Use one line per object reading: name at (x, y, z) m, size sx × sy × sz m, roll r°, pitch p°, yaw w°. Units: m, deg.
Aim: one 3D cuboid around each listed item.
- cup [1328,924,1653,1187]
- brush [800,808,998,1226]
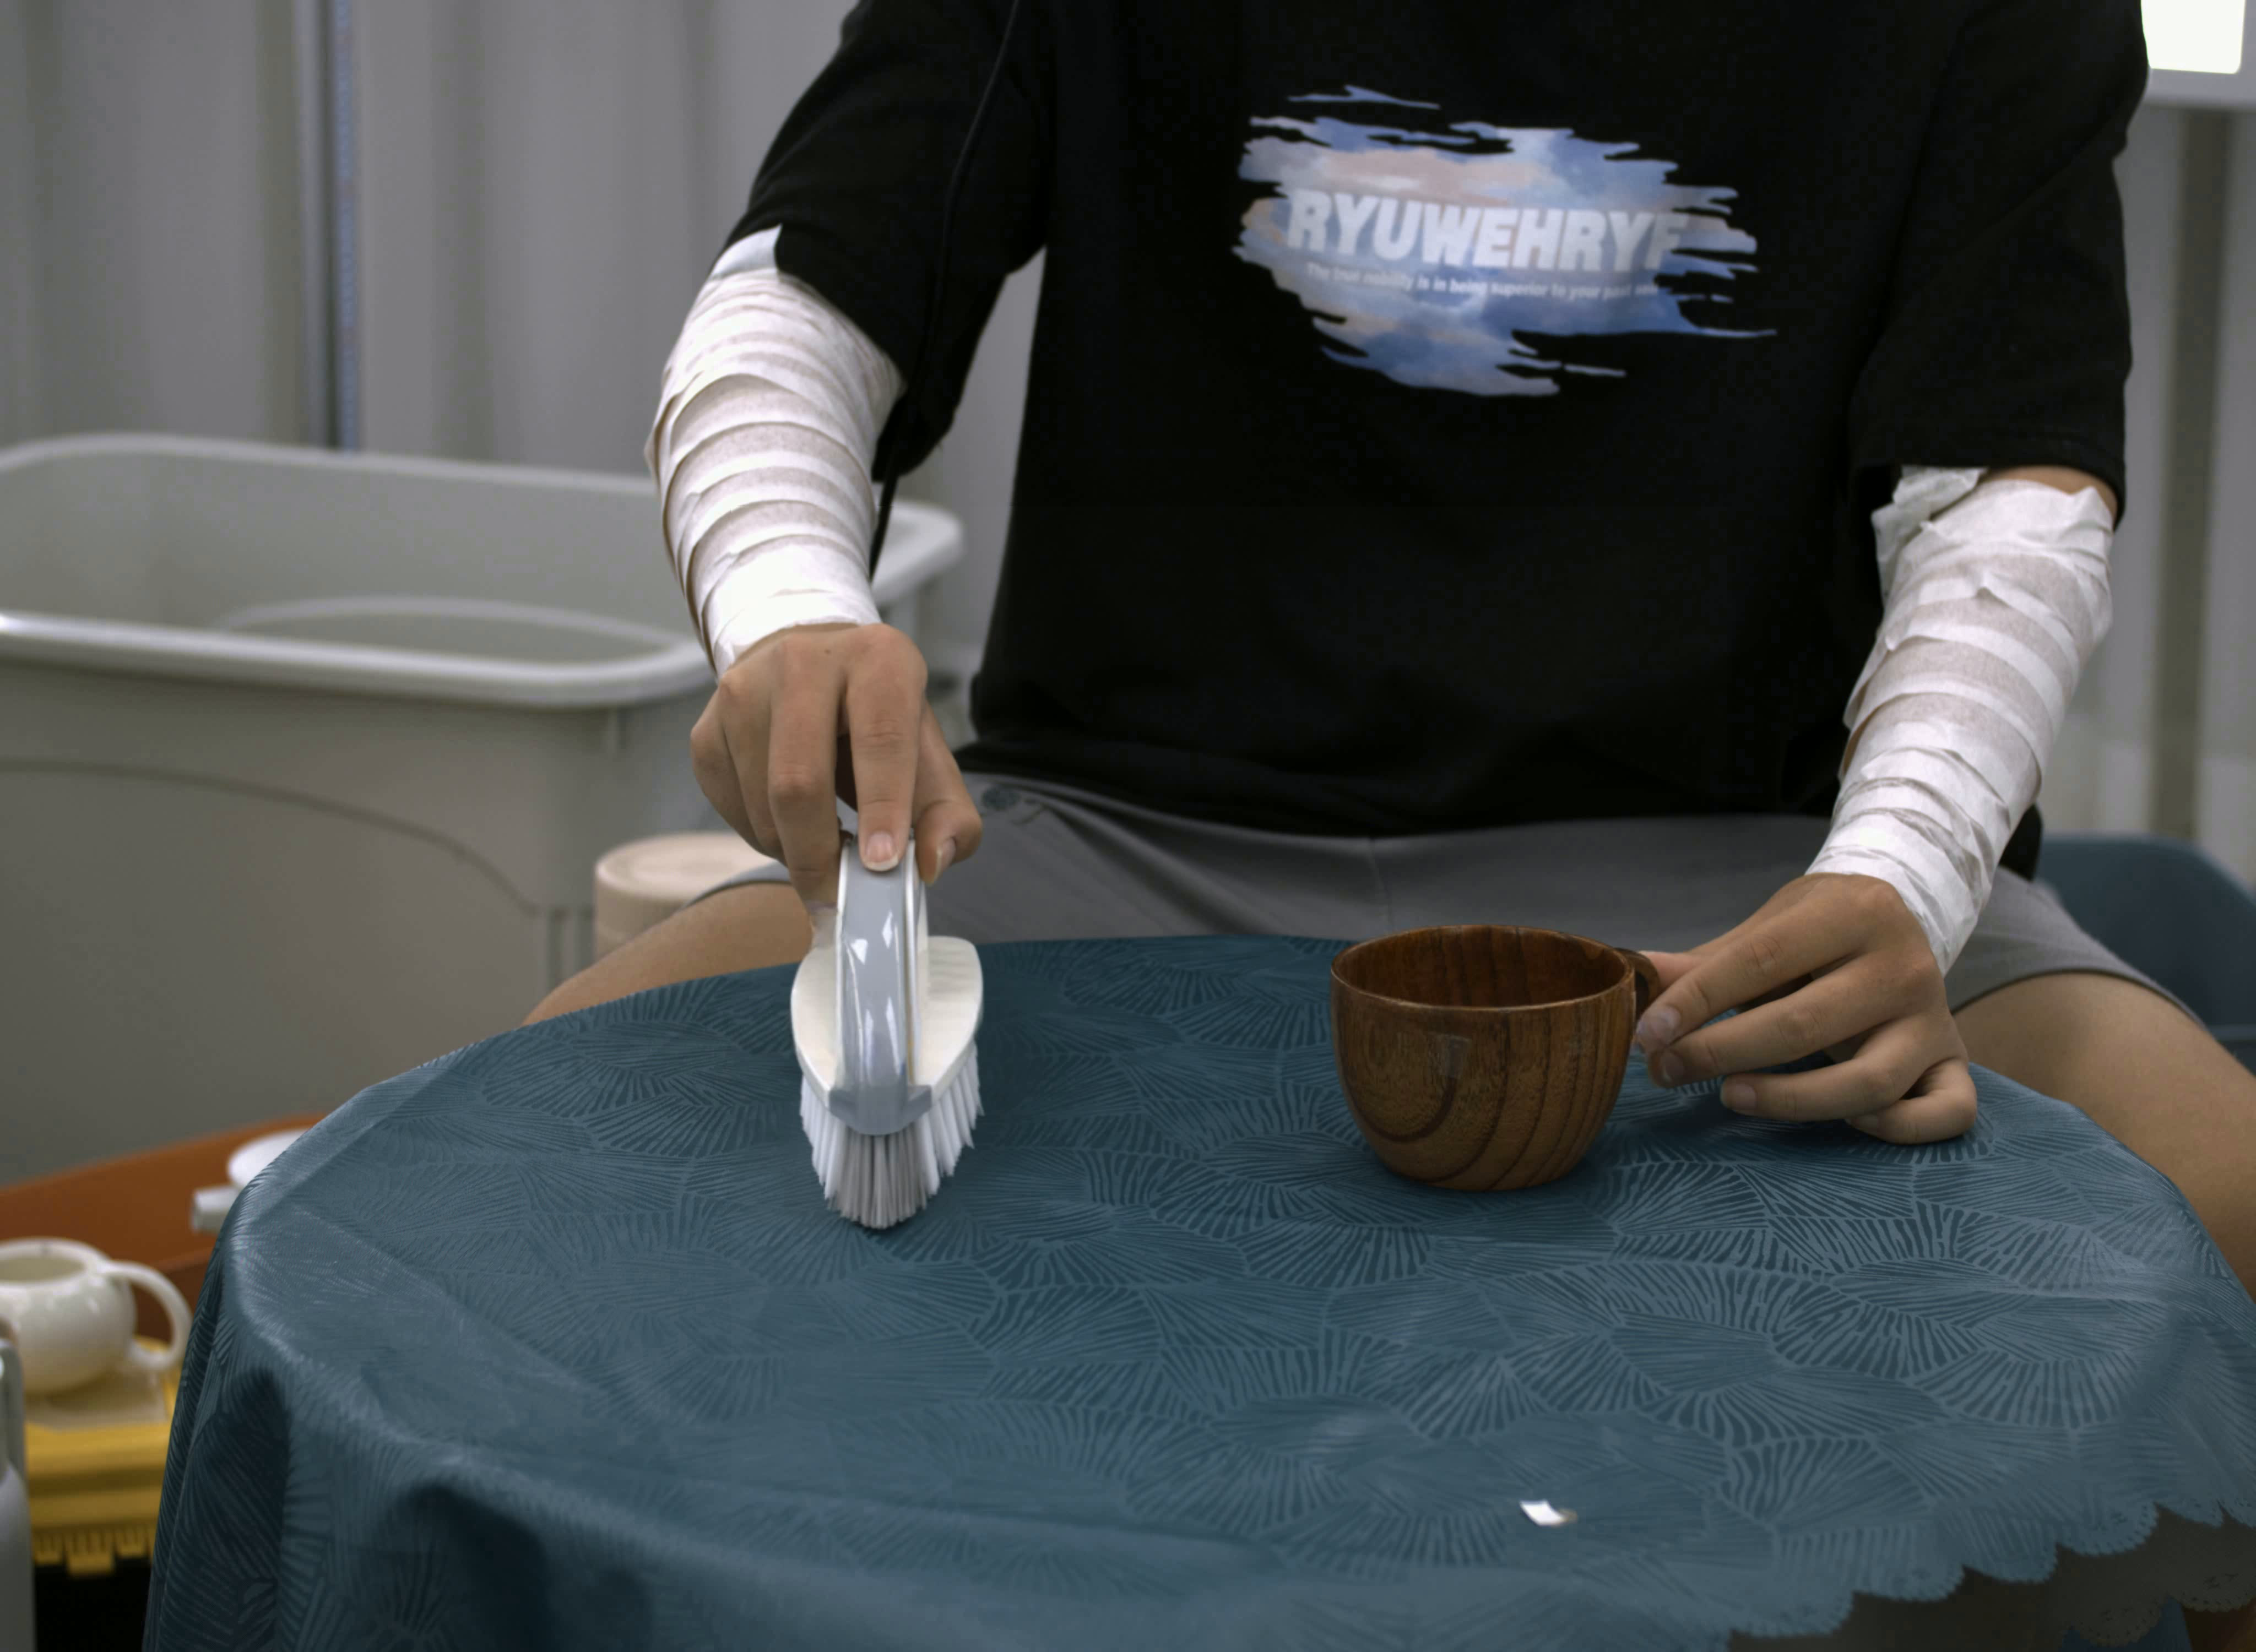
cup at (0.120, 0.072, 1.652) m, size 0.120 × 0.068 × 0.095 m, roll -10°, pitch 16°, yaw -36°
brush at (-0.075, 0.053, 1.651) m, size 0.061 × 0.095 × 0.174 m, roll -6°, pitch 21°, yaw 3°
